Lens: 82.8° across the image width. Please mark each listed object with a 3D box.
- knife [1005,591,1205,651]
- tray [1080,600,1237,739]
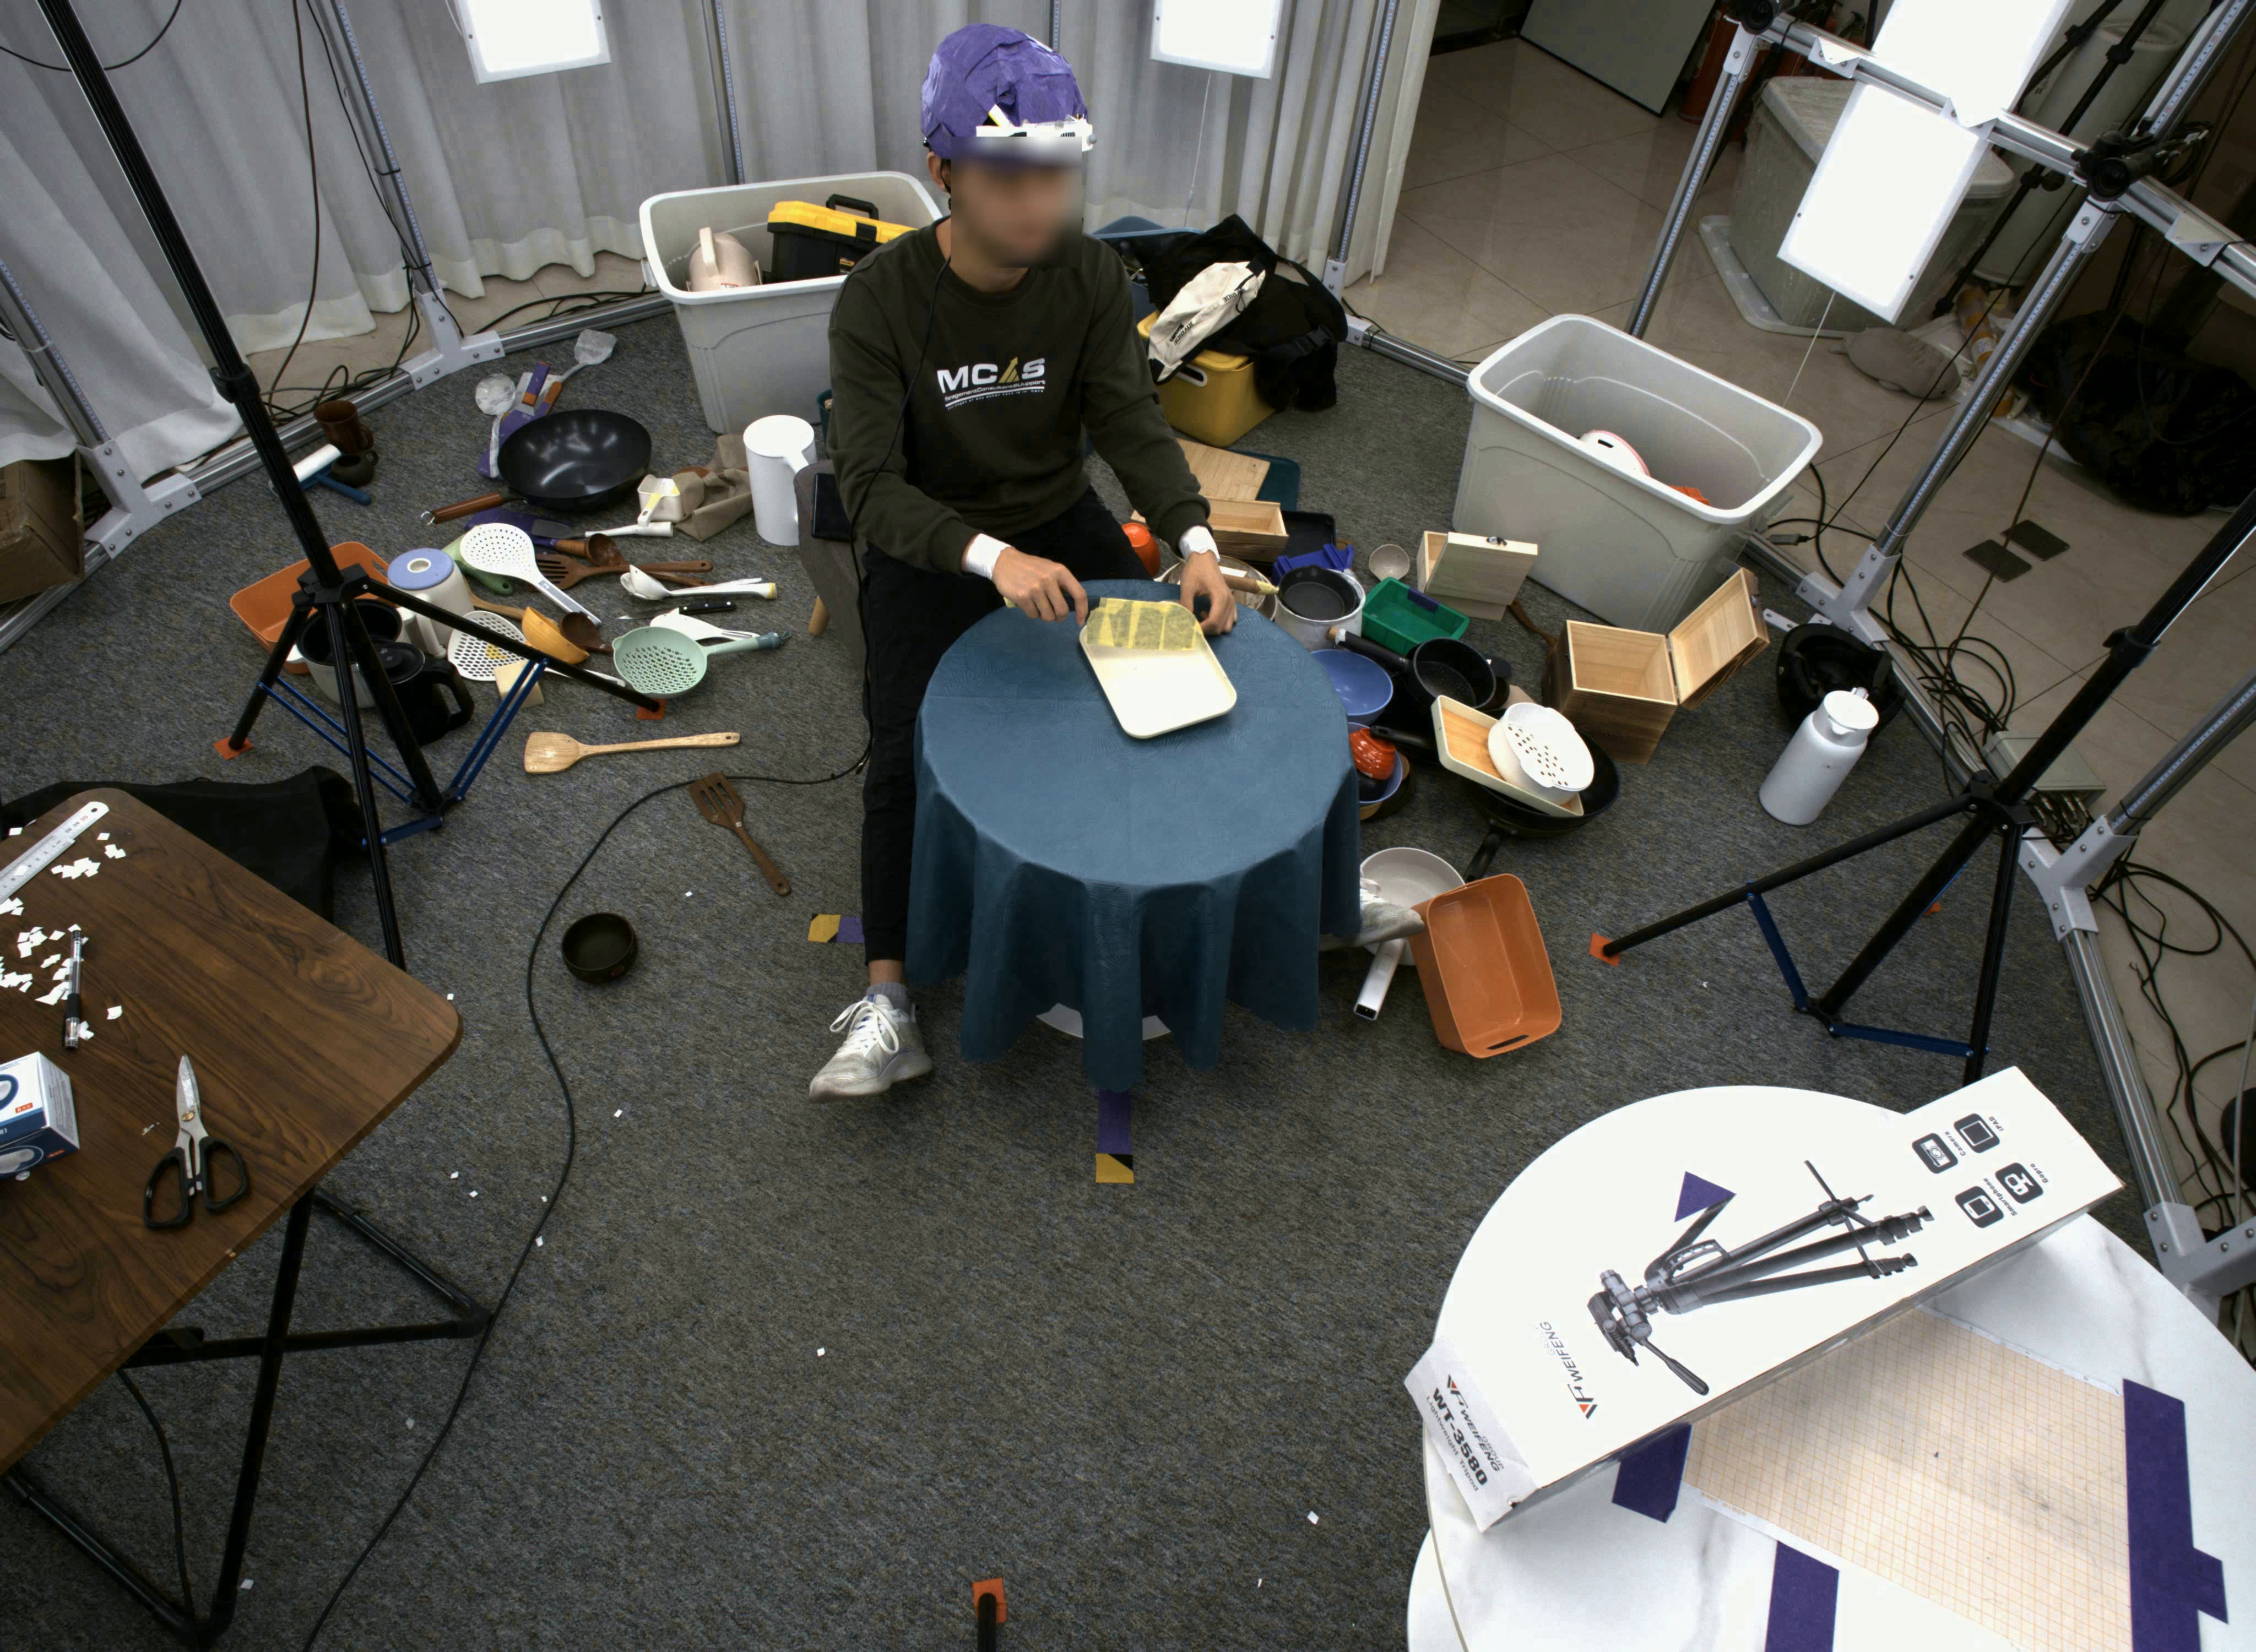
[{"bbox_3d":[-0.031,-0.291,1.825,0.289,0.079,0.028,8,26,-4],"label":"knife"},{"bbox_3d":[0.042,-0.227,1.843,0.171,0.017,0.245,-18,53,-9],"label":"tray"}]
